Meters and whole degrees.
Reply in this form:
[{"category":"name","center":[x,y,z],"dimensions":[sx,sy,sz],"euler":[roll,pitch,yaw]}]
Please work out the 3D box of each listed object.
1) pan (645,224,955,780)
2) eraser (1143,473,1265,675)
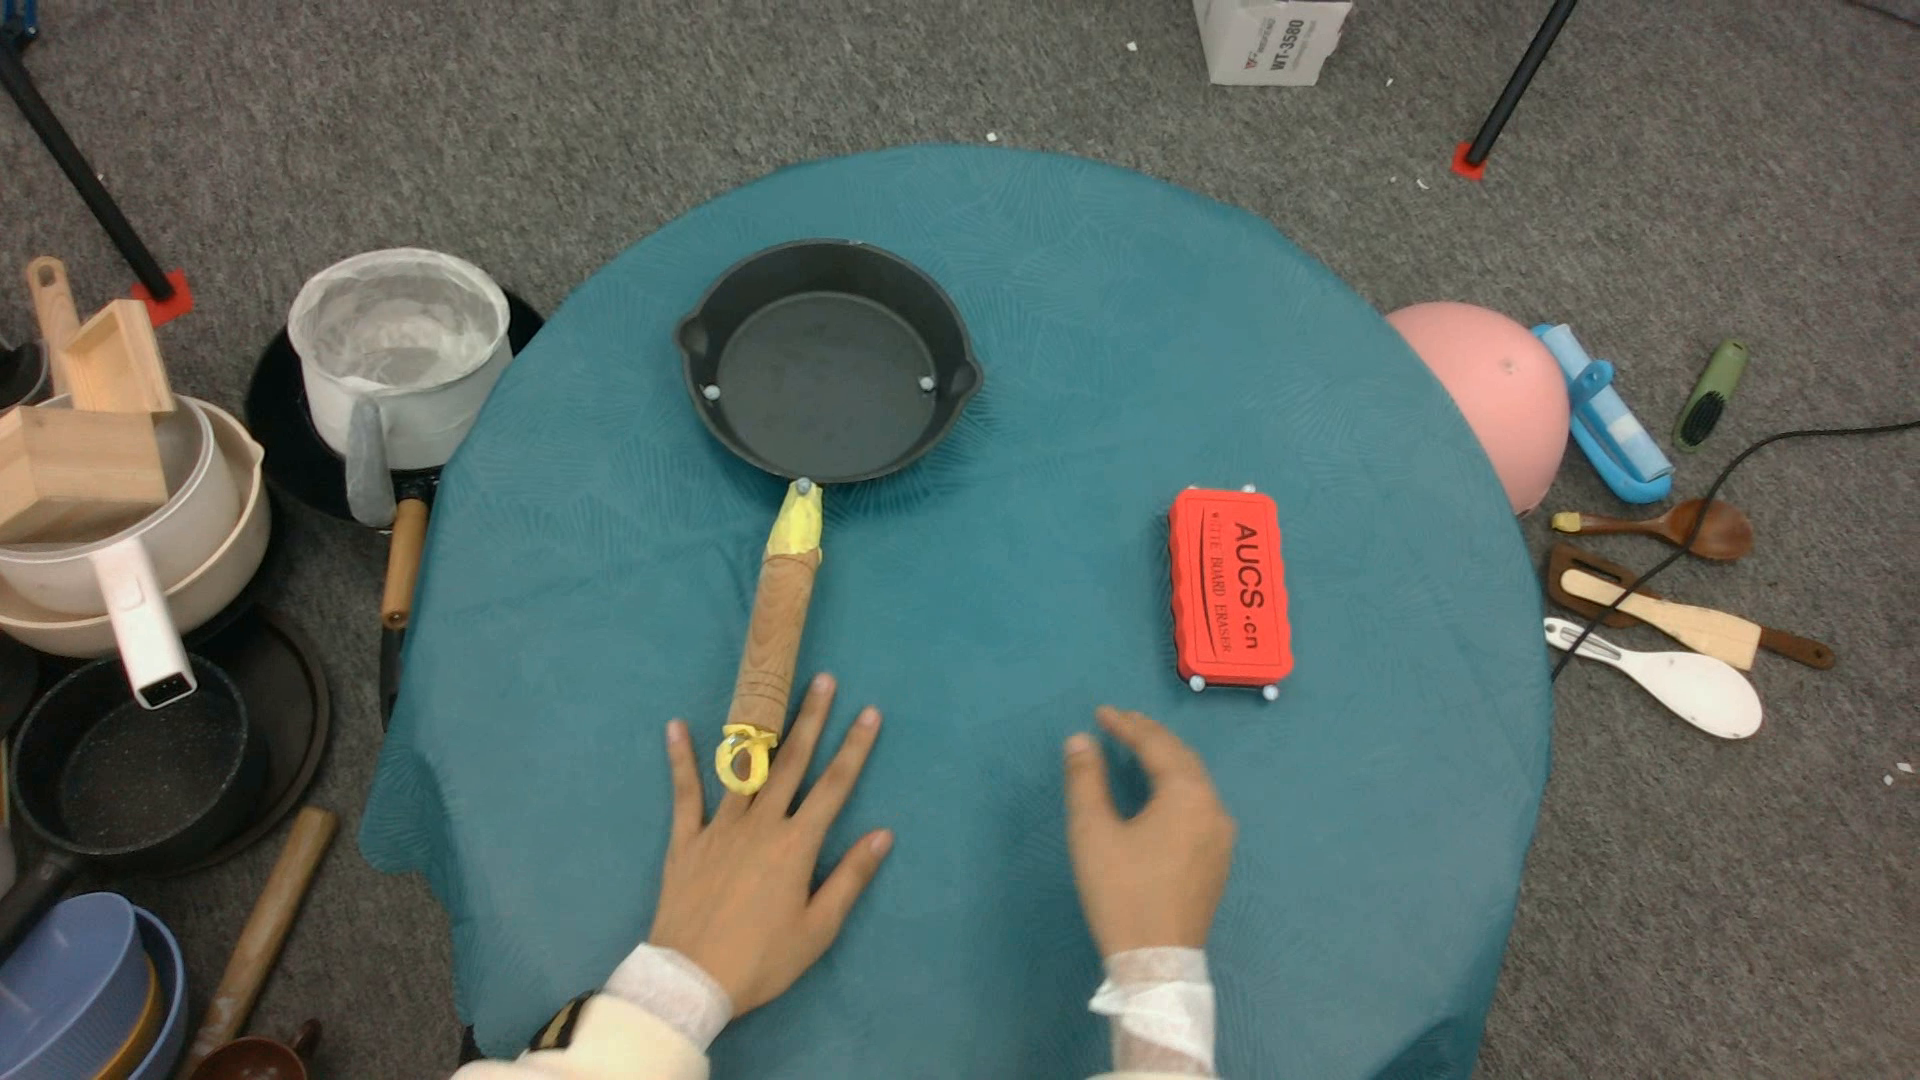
[{"category":"pan","center":[-0.097,-0.030,0.713],"dimensions":[0.169,0.049,0.325],"euler":[10,62,-4]},{"category":"eraser","center":[0.130,0.018,0.739],"dimensions":[0.059,0.023,0.108],"euler":[4,64,-7]}]
